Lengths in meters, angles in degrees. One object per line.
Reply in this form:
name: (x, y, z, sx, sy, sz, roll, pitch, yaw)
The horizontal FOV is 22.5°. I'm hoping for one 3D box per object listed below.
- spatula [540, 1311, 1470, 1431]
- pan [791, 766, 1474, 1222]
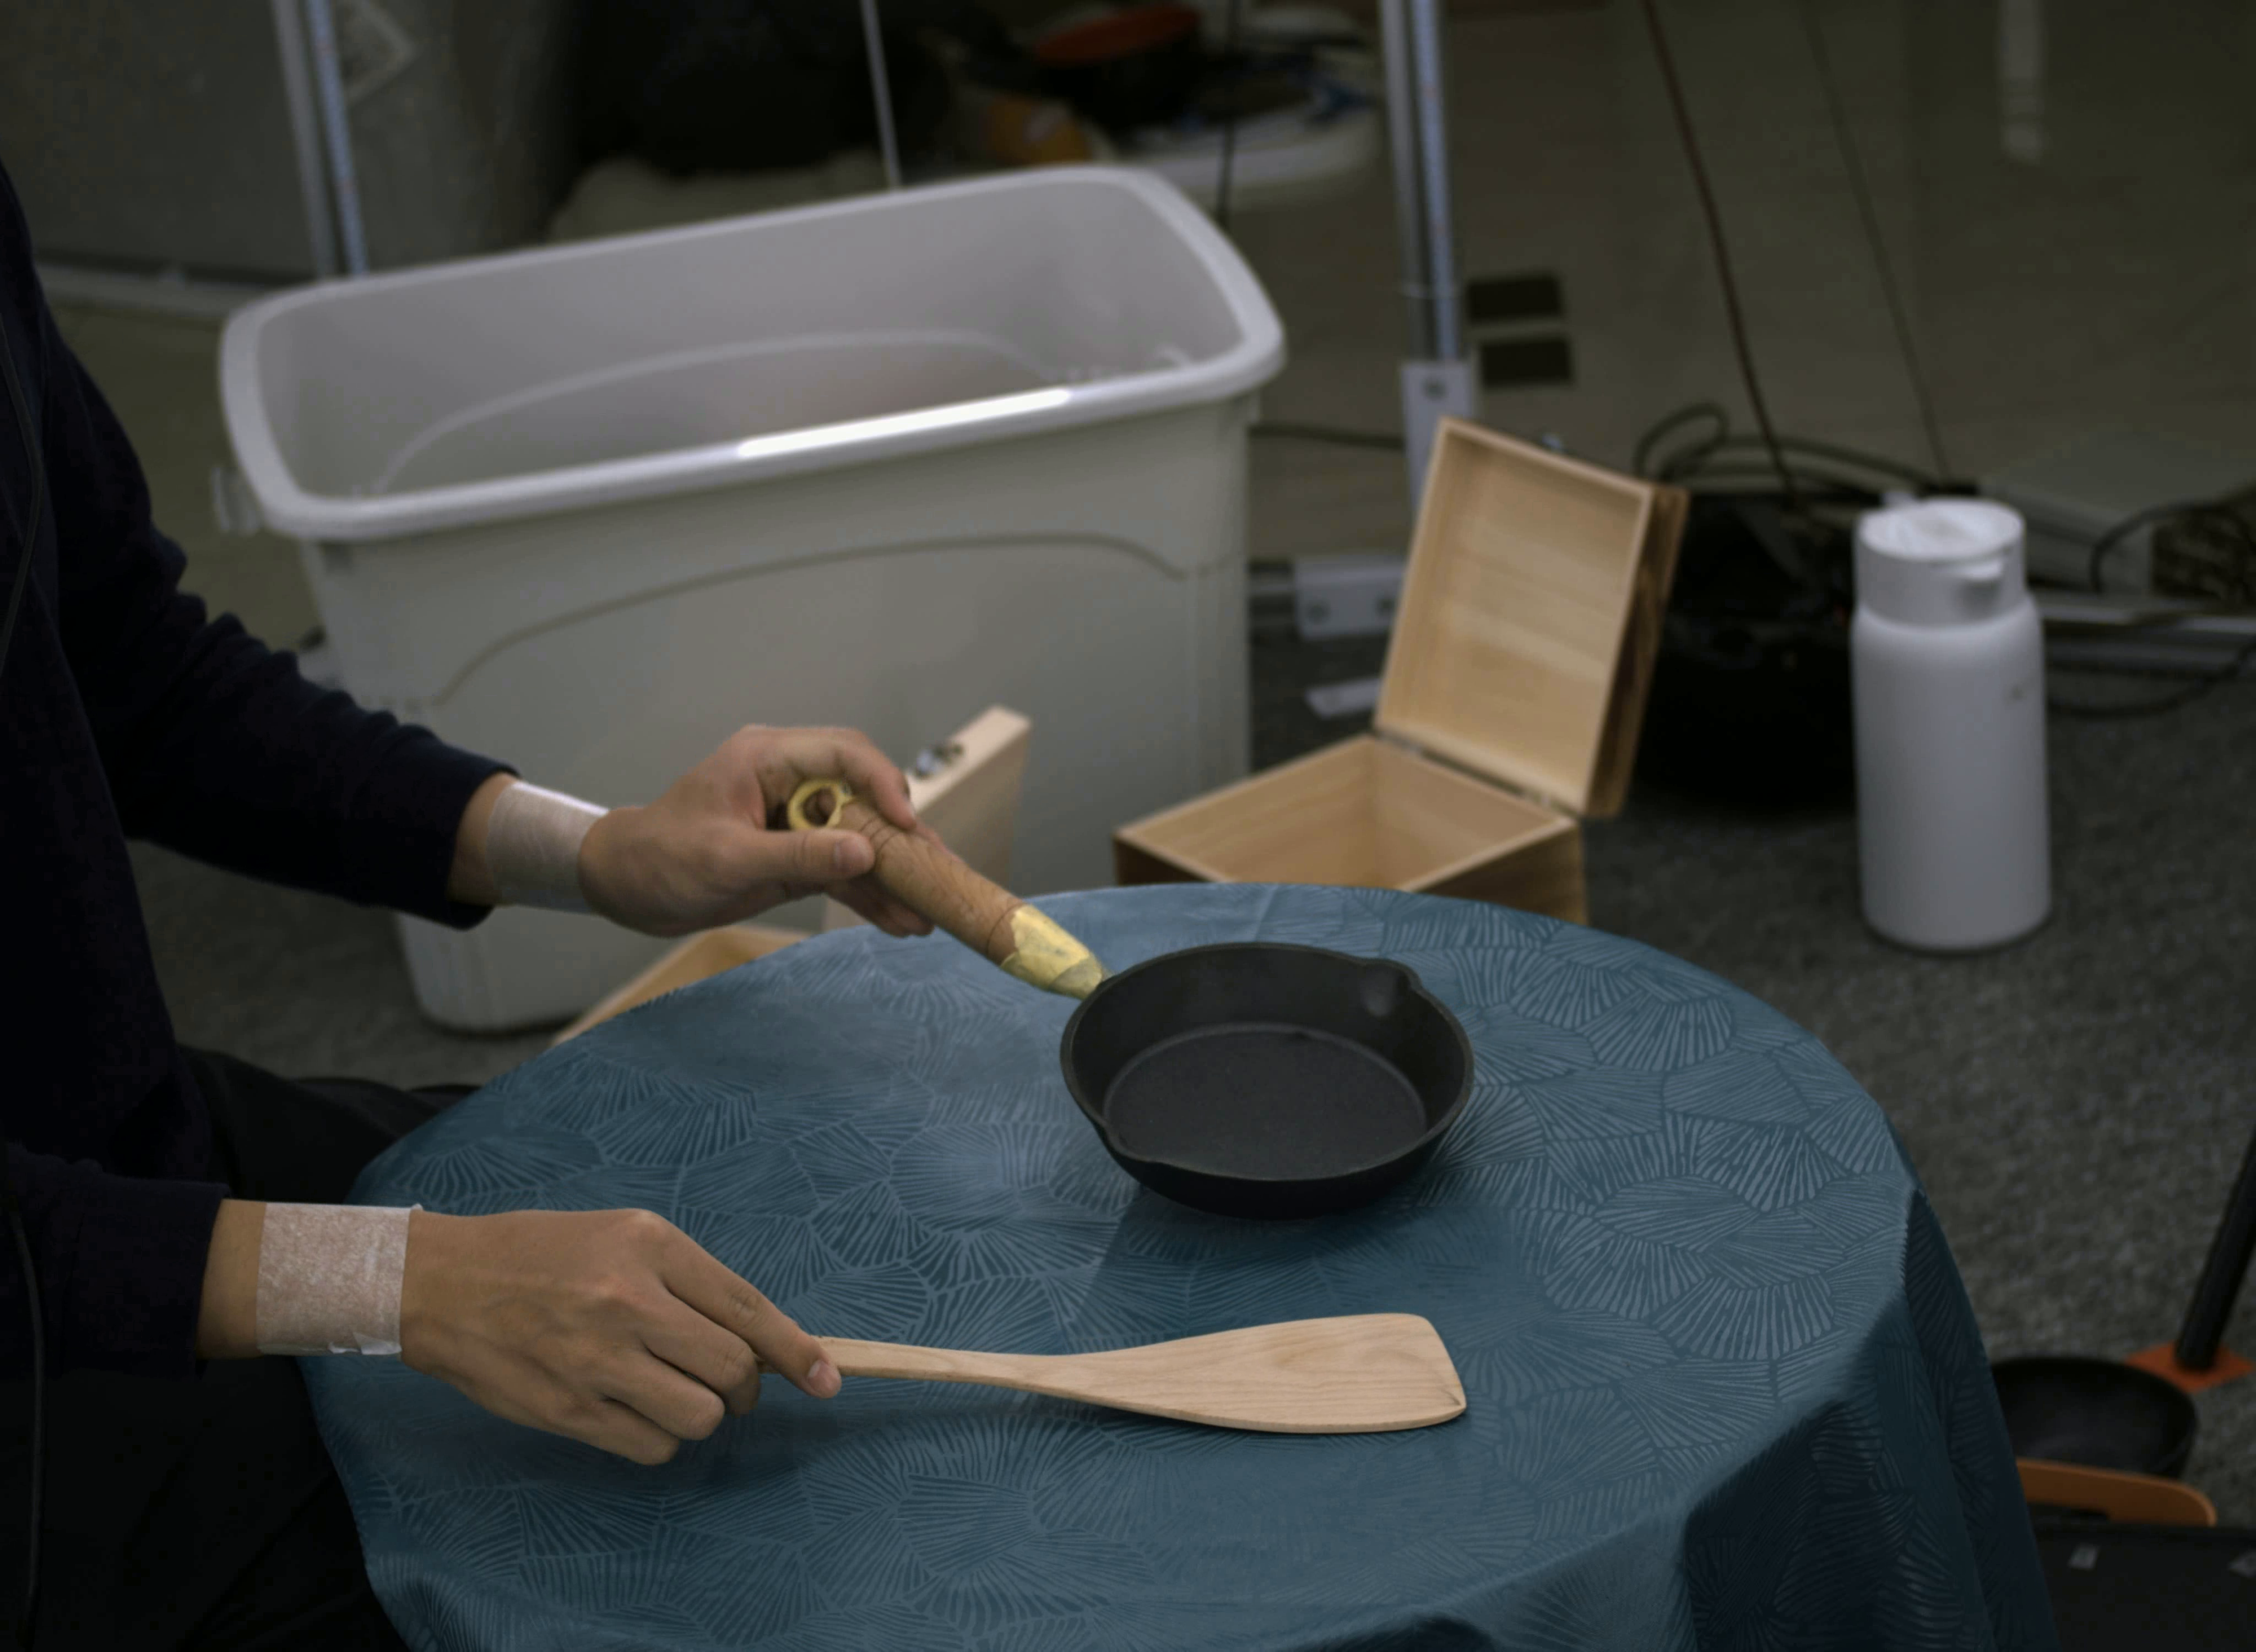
spatula: (-0.044, 0.188, 2.006, 0.327, 0.017, 0.079, 2, 24, 0)
pan: (-0.010, 0.060, 2.192, 0.321, 0.050, 0.167, 29, 42, 32)
